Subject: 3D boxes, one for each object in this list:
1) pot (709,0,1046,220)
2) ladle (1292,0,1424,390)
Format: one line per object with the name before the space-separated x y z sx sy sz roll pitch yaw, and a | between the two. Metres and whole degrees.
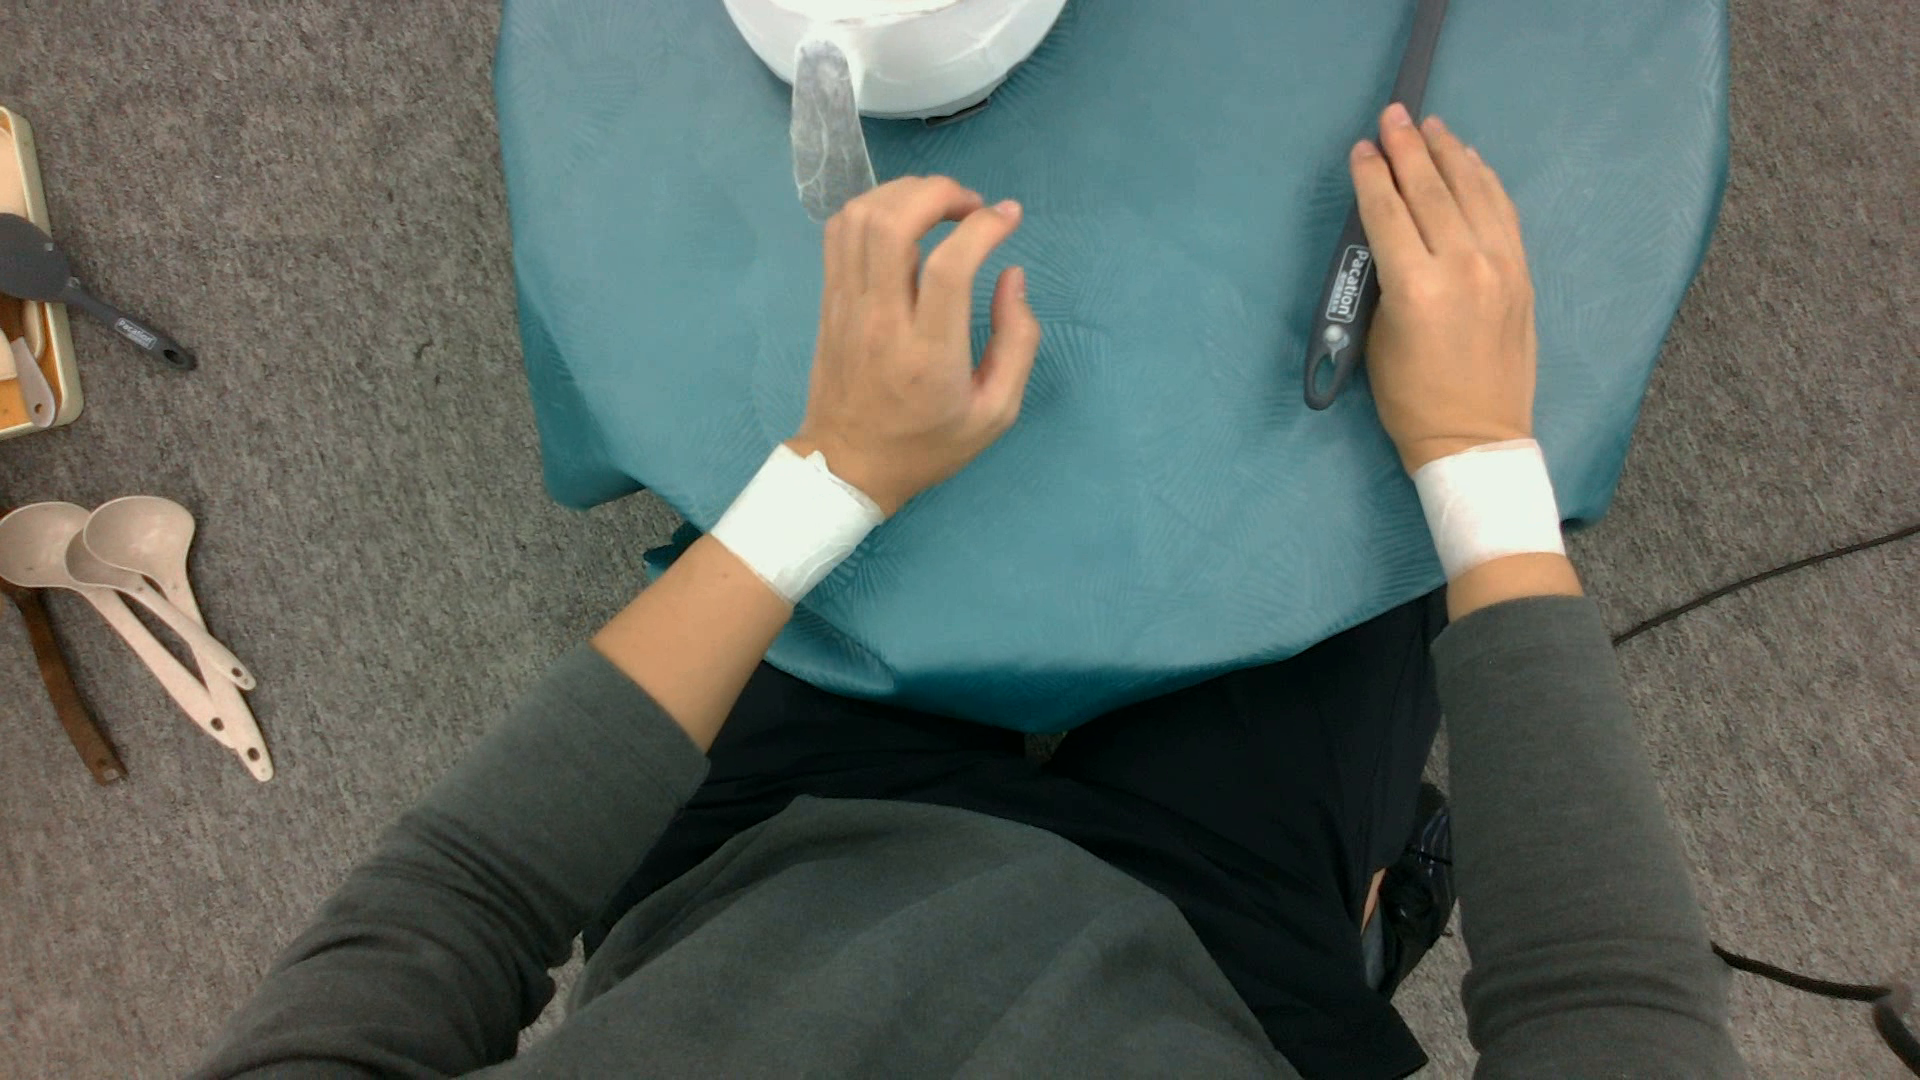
pot | -0.045 -0.267 0.612 0.178 0.136 0.234 9 88 3
ladle | 0.196 -0.223 0.629 0.086 0.064 0.314 14 83 23
